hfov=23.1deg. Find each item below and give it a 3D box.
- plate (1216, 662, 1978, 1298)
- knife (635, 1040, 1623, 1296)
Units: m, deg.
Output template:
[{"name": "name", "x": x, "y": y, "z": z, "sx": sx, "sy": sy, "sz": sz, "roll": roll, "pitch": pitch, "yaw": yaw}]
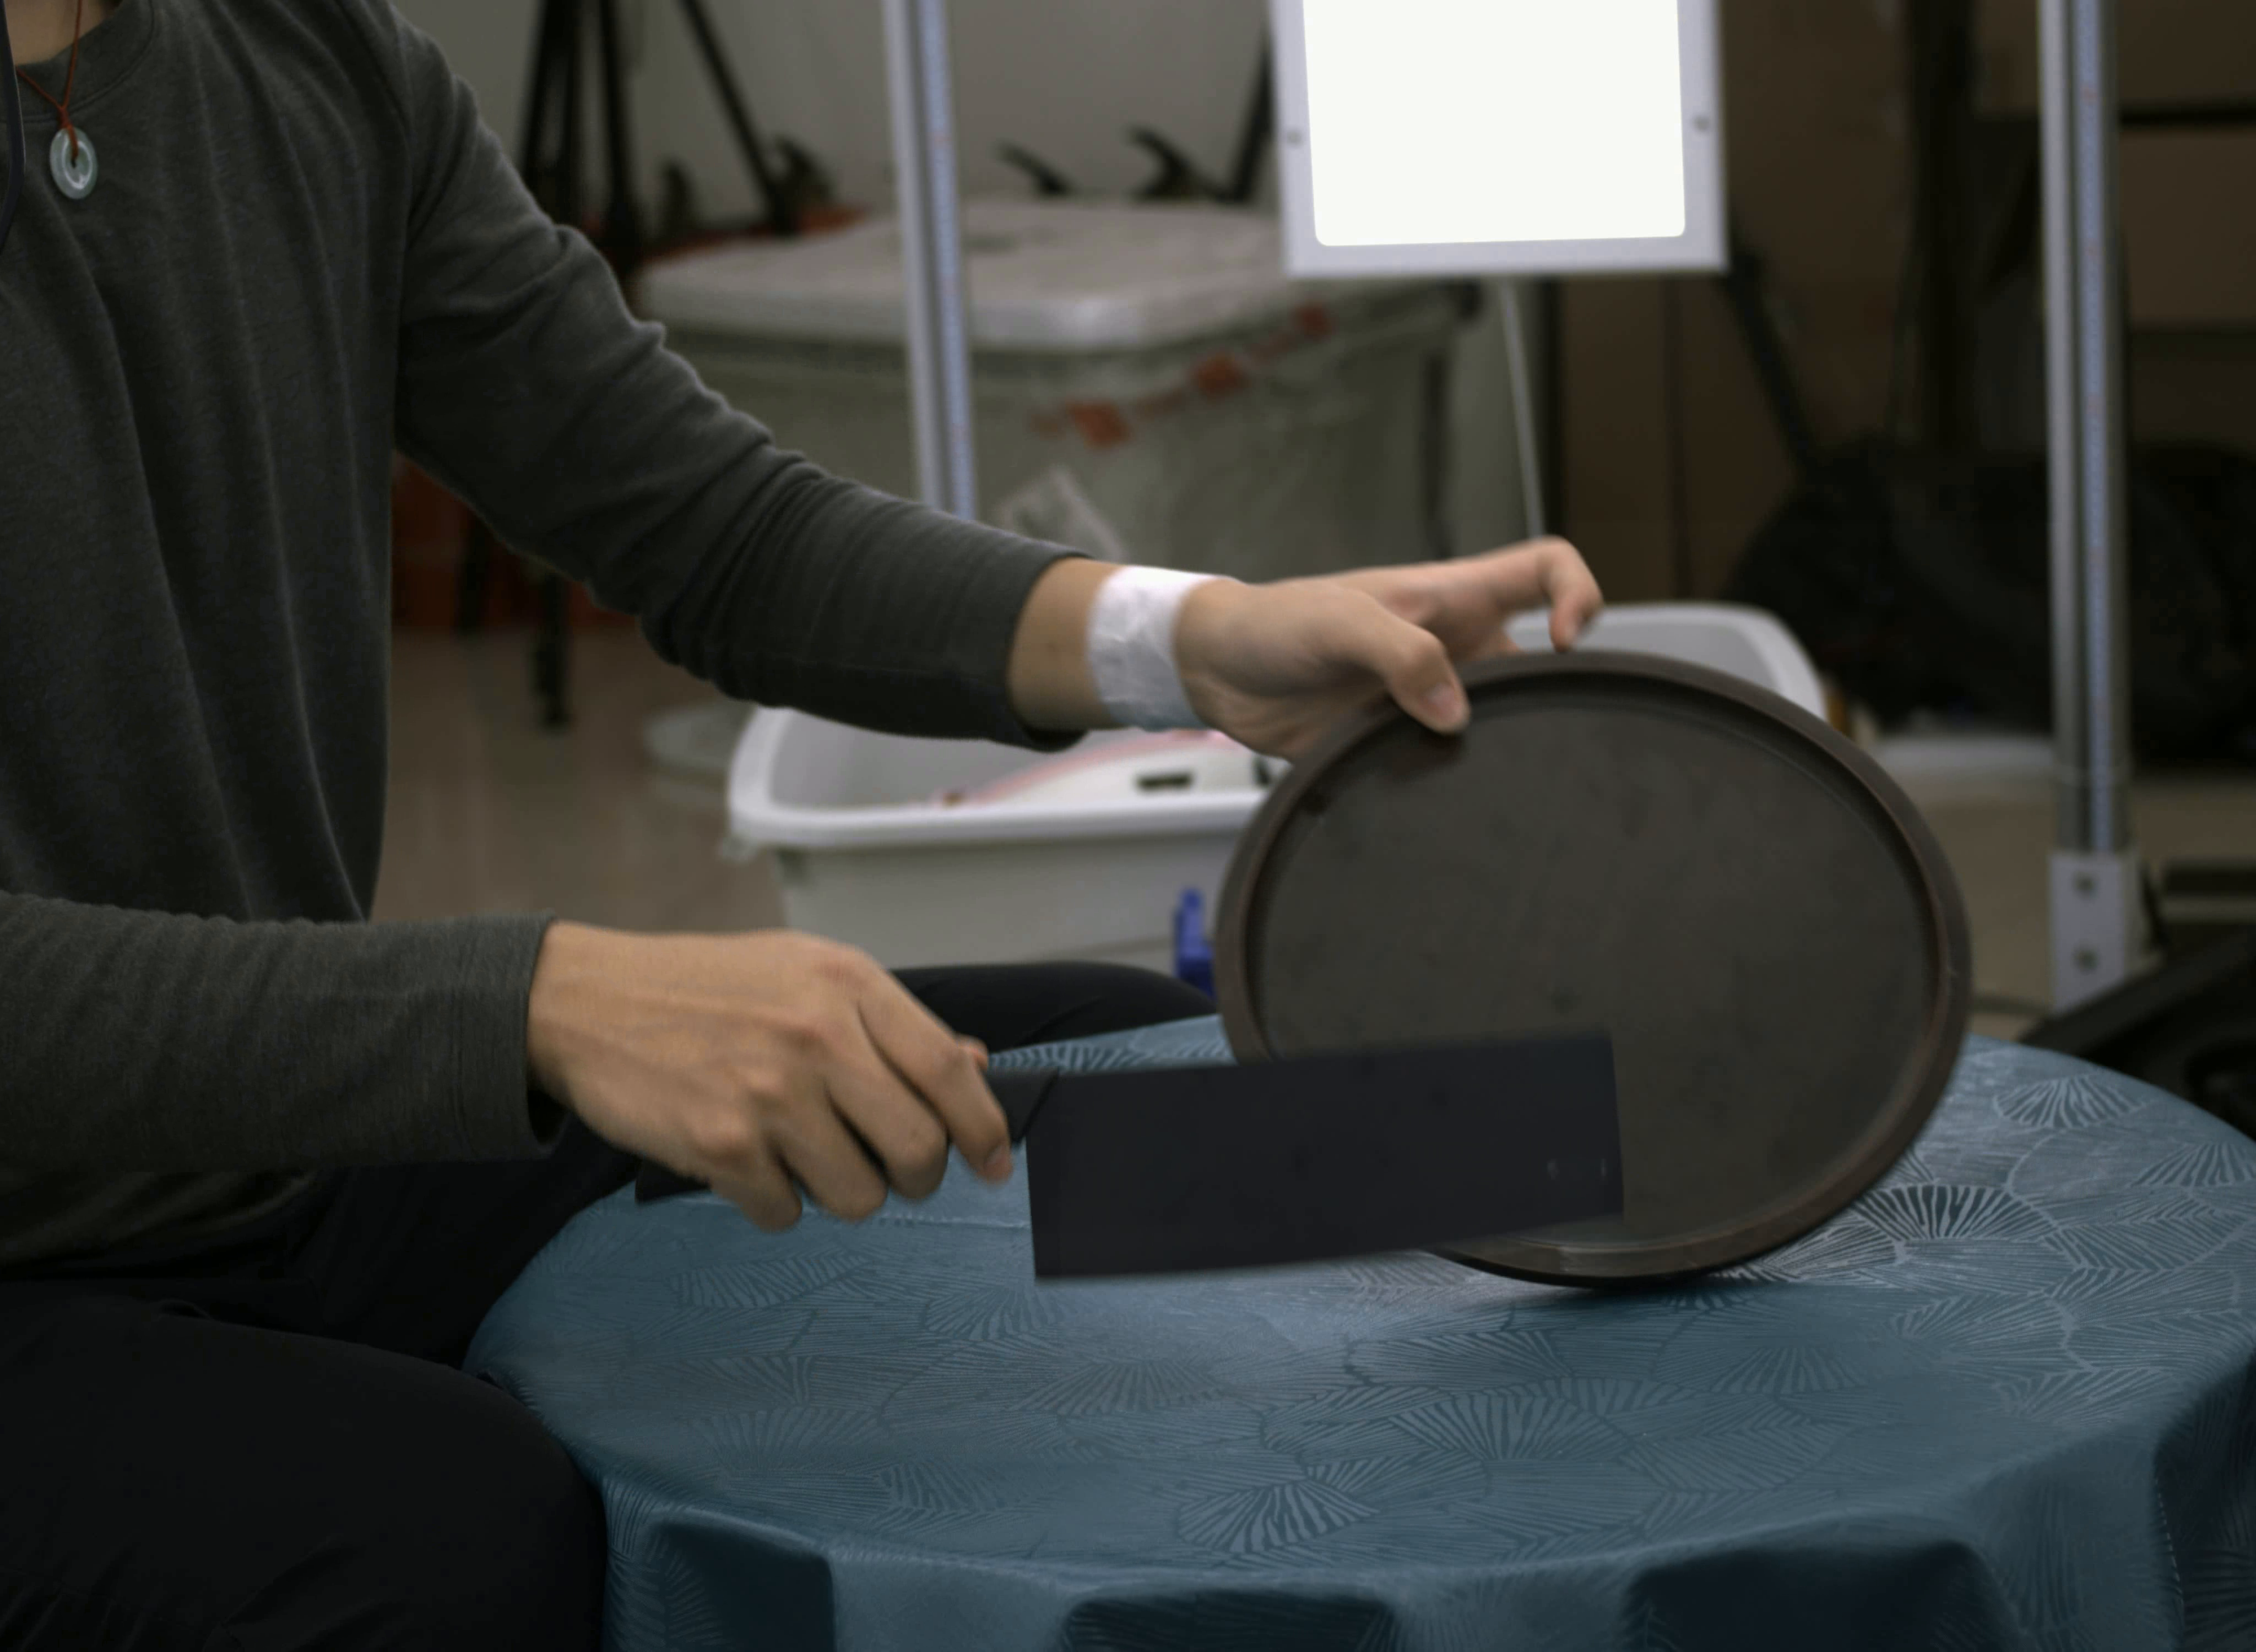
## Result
[{"name": "plate", "x": 0.156, "y": 0.049, "z": 1.819, "sx": 0.254, "sy": 0.029, "sz": 0.254, "roll": -2, "pitch": 55, "yaw": 2}, {"name": "knife", "x": -0.001, "y": 0.104, "z": 1.668, "sx": 0.303, "sy": 0.081, "sz": 0.021, "roll": 0, "pitch": -15, "yaw": 9}]
